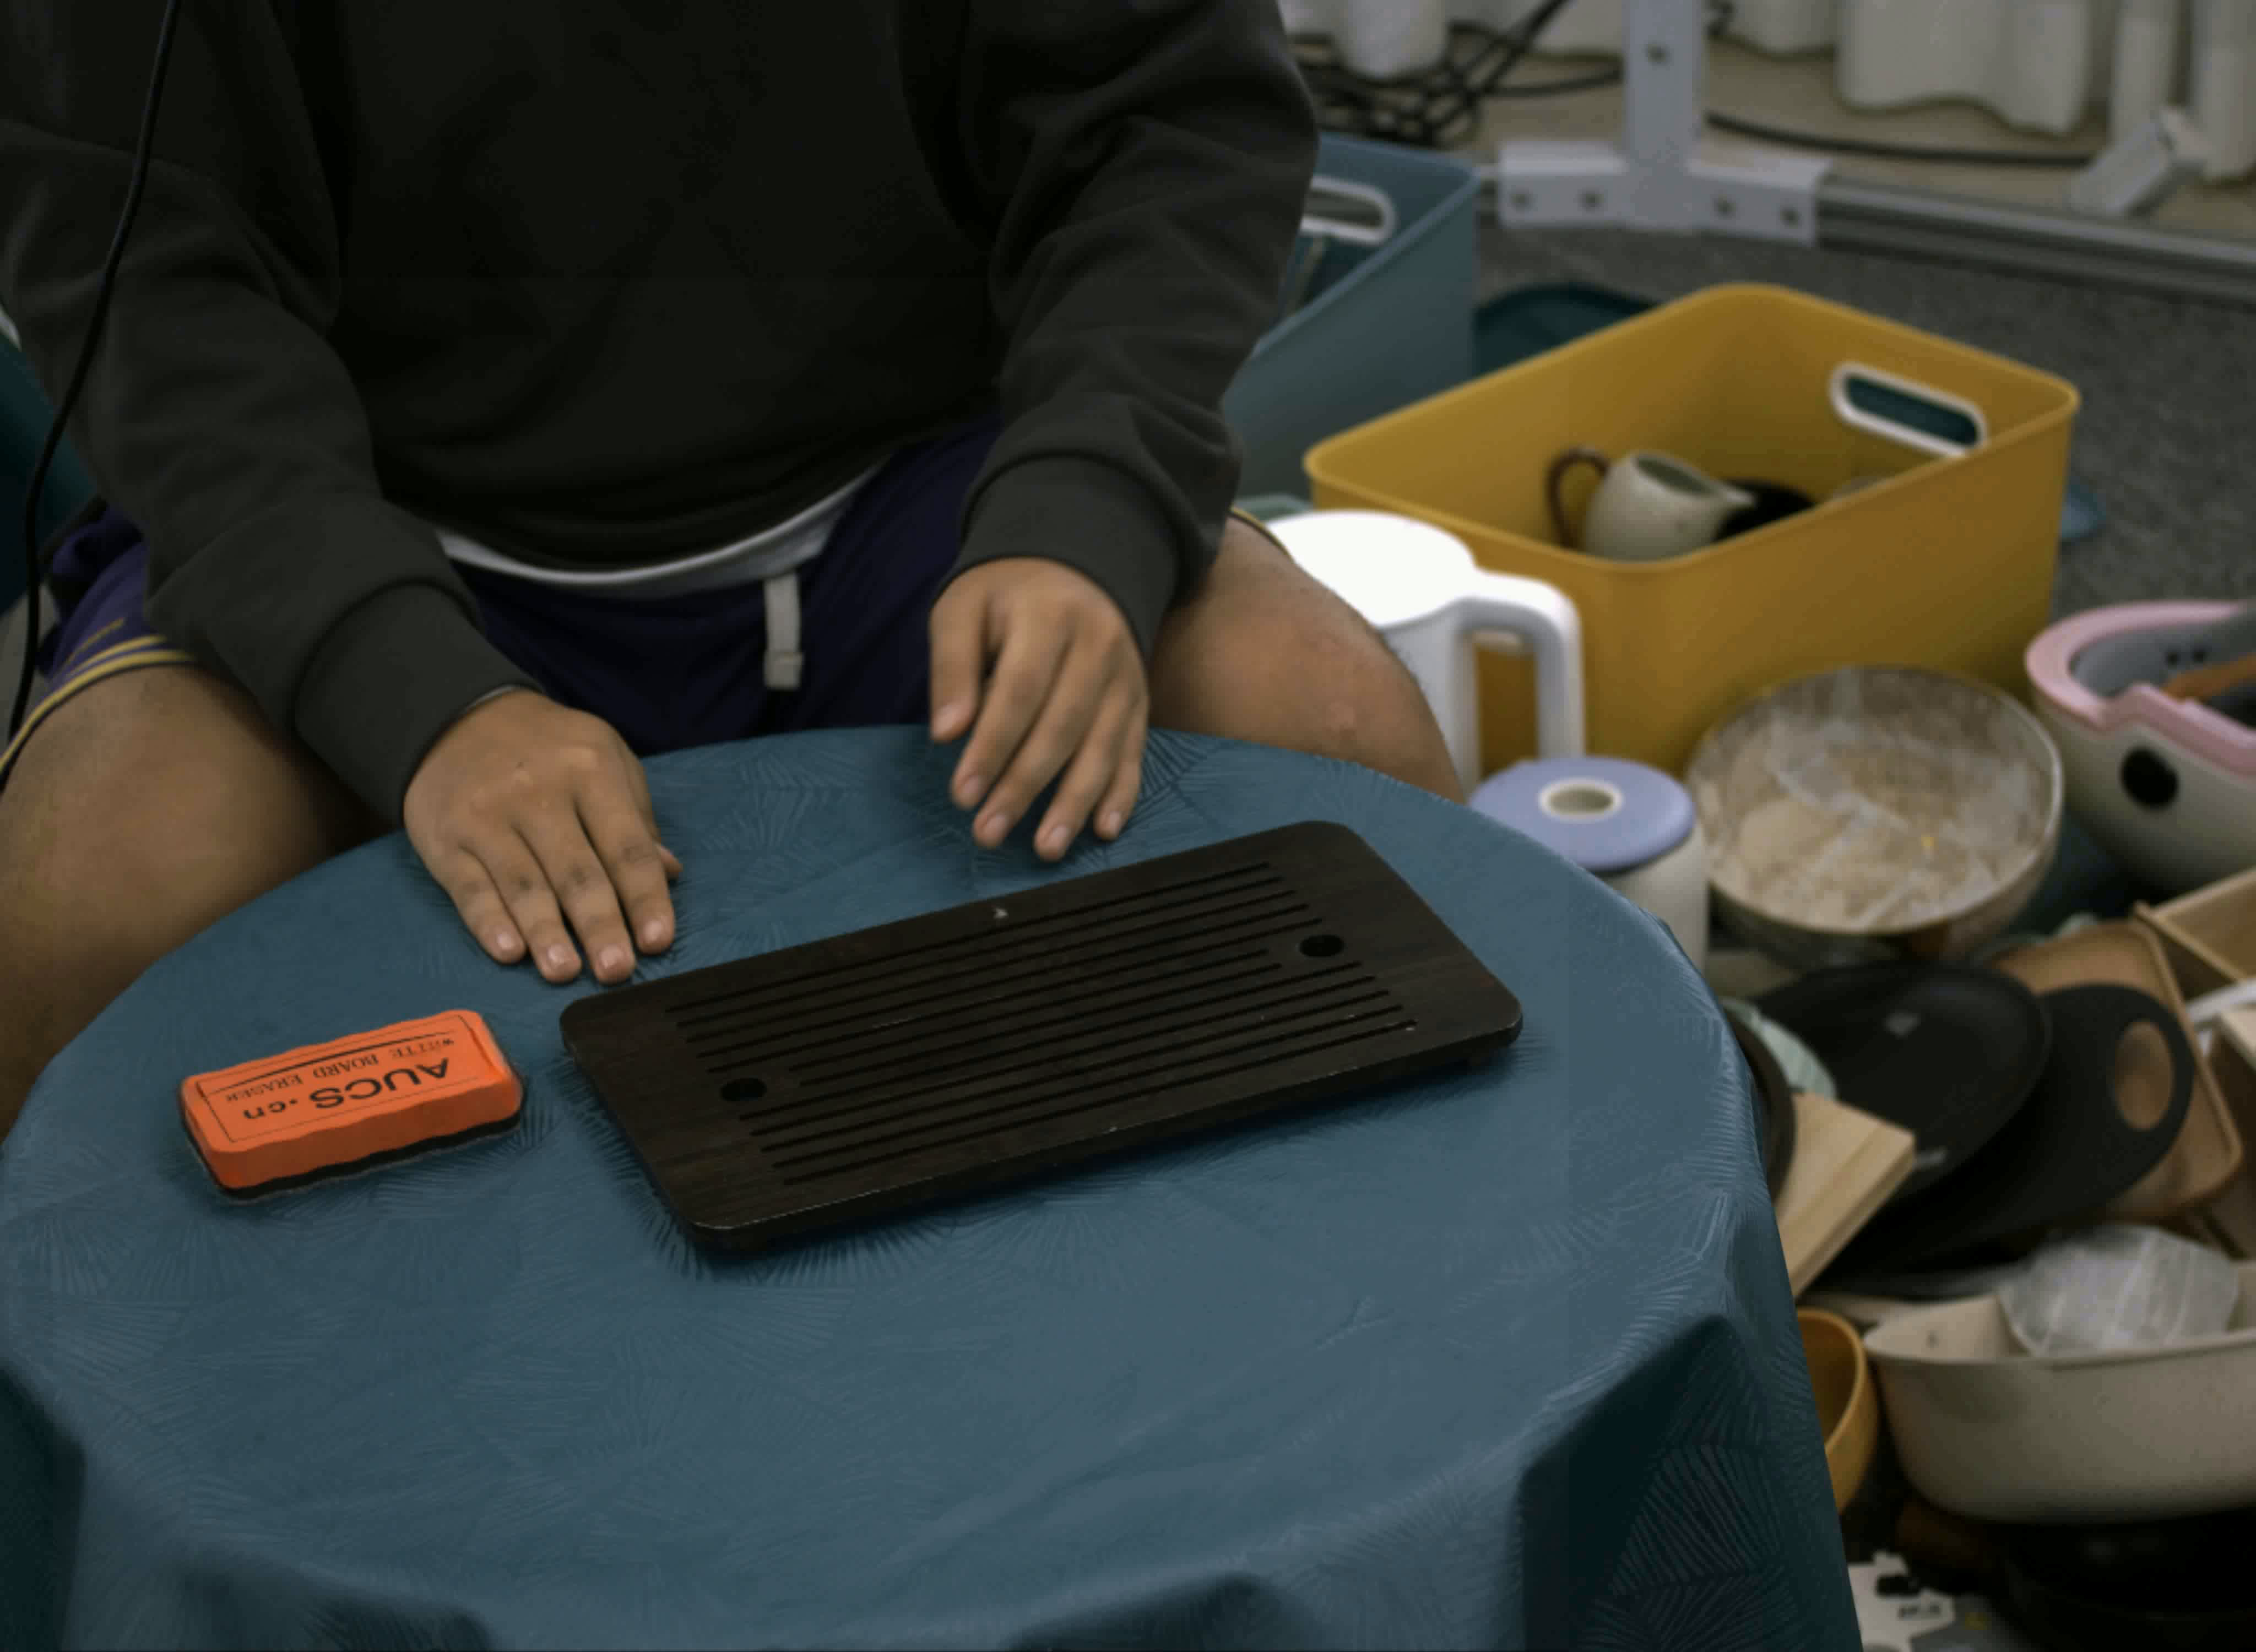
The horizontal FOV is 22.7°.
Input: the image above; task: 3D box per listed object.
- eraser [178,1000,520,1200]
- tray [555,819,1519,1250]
[{"bbox_3d":[-0.265,0.093,1.911,0.108,0.022,0.059,-15,30,-20],"label":"eraser"},{"bbox_3d":[-0.032,0.071,1.944,0.307,0.018,0.171,-14,29,-19],"label":"tray"}]
